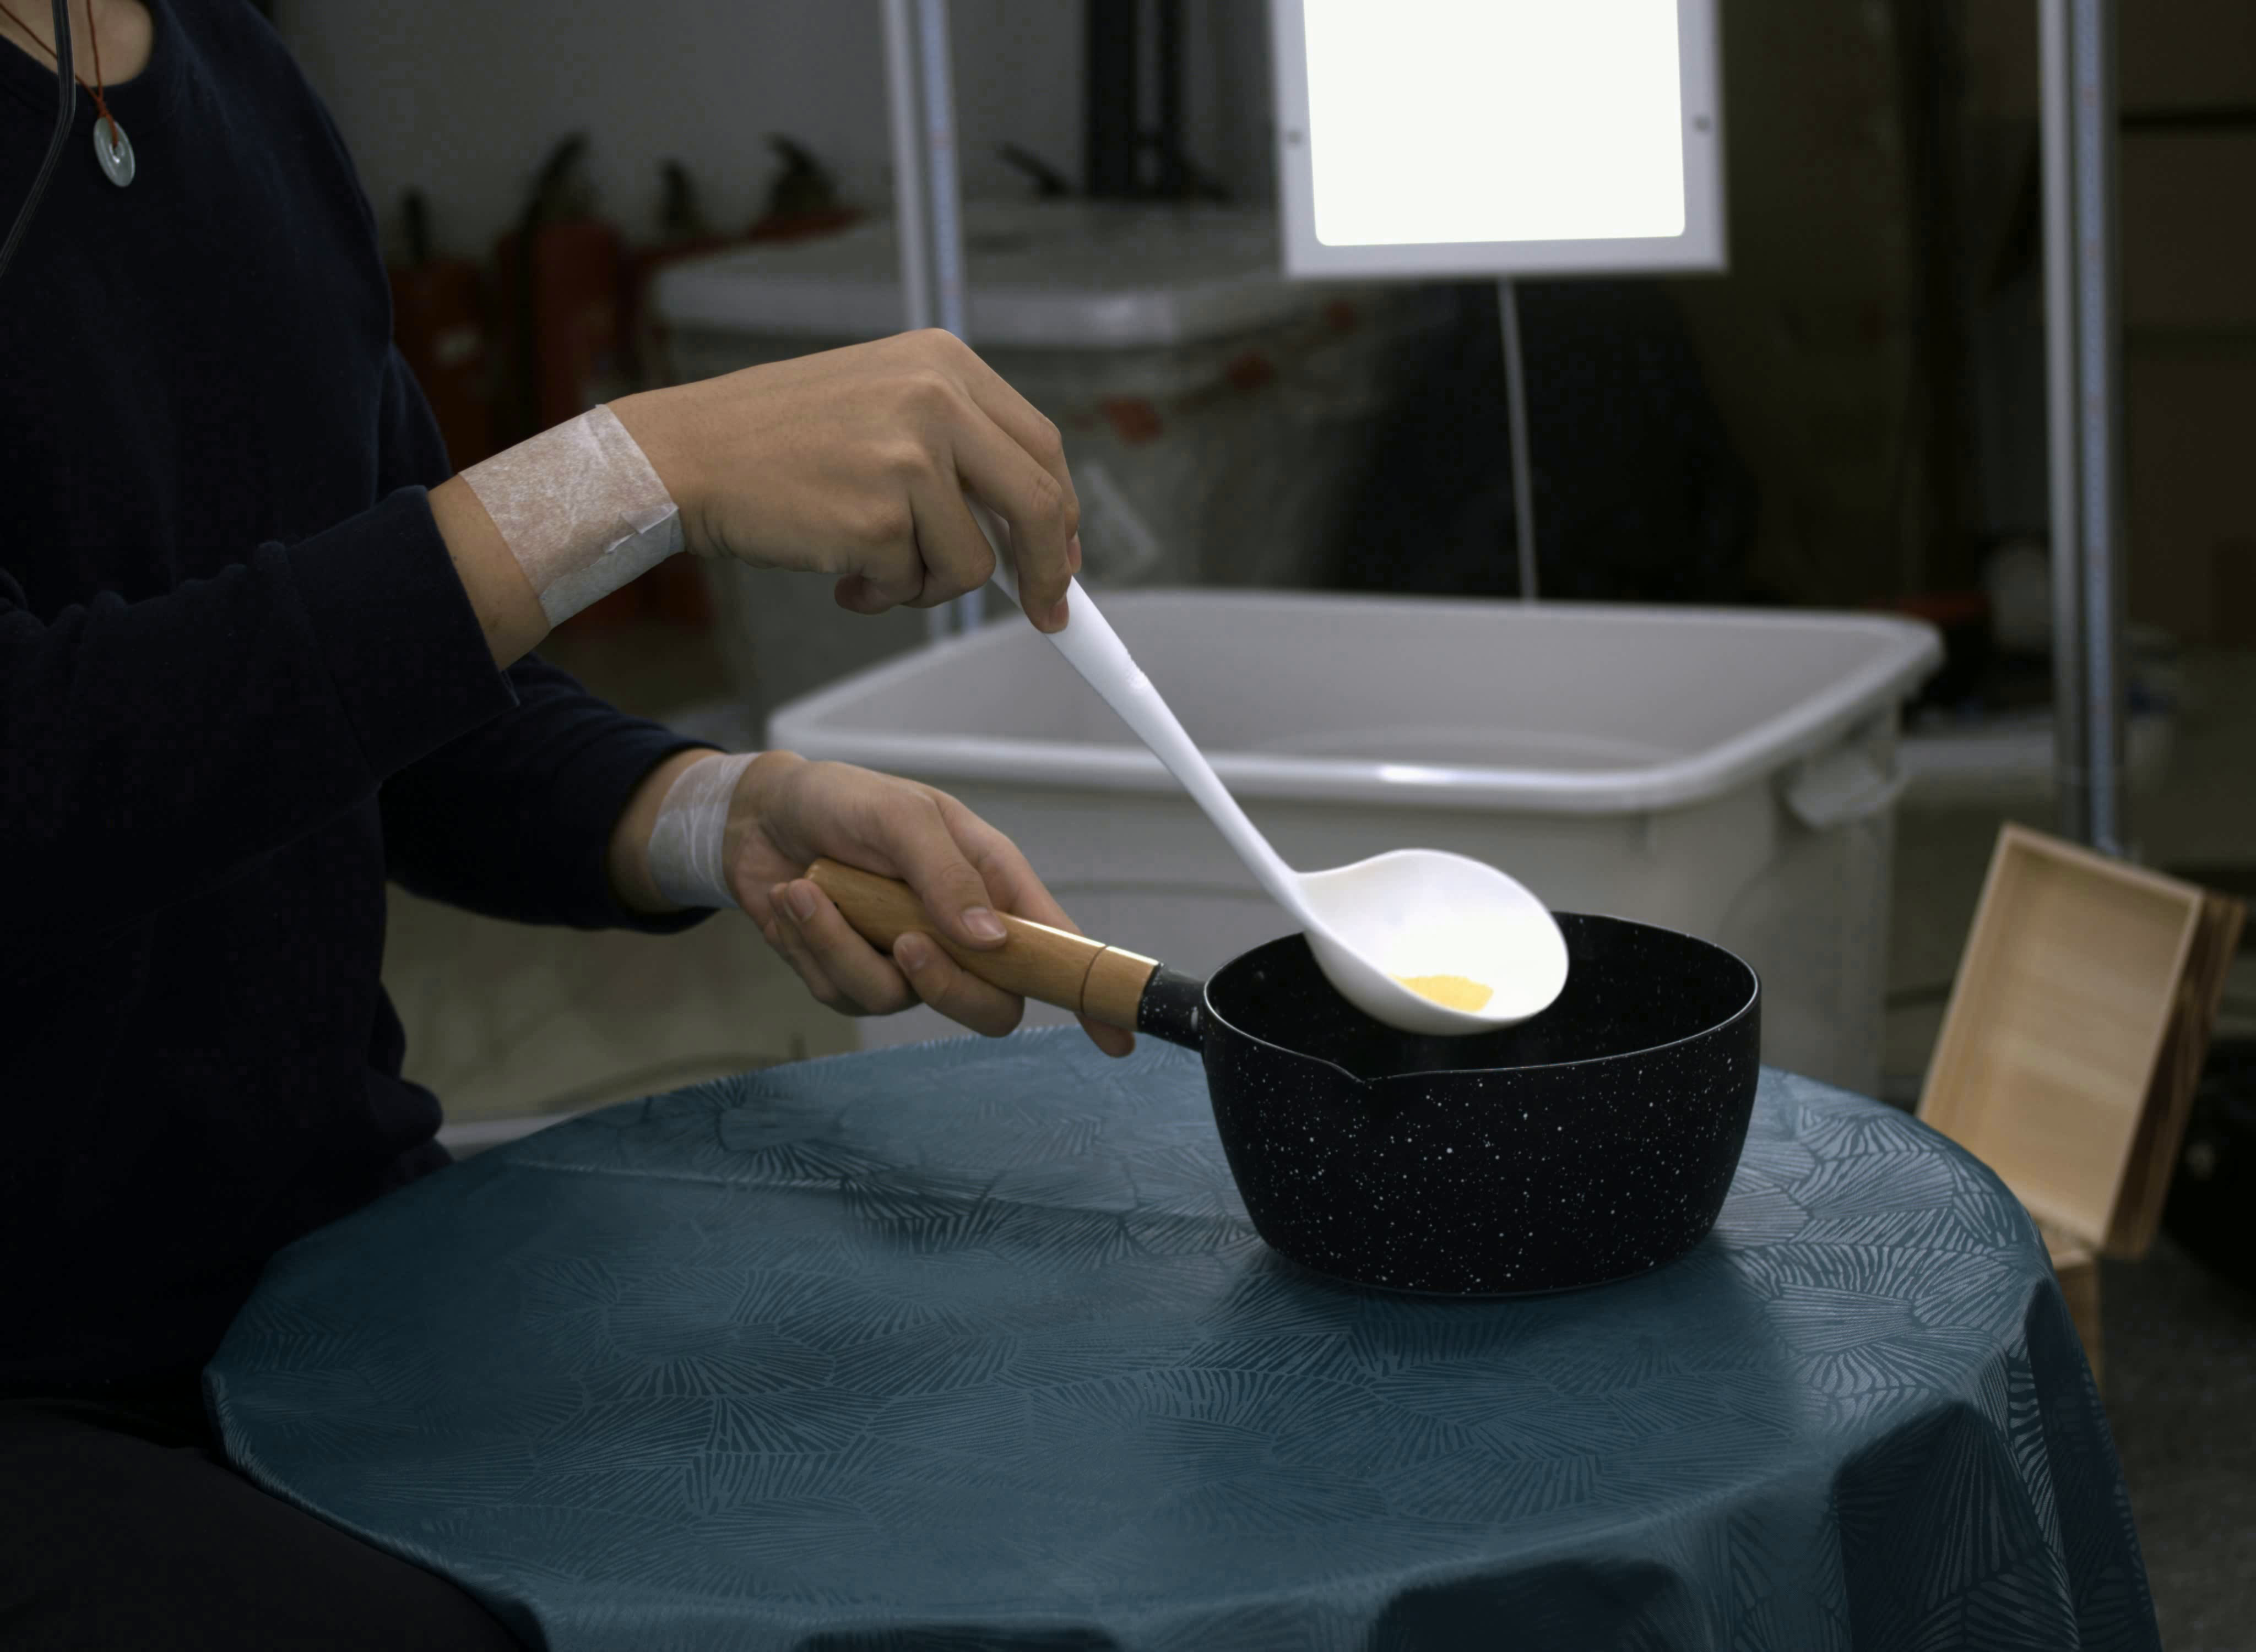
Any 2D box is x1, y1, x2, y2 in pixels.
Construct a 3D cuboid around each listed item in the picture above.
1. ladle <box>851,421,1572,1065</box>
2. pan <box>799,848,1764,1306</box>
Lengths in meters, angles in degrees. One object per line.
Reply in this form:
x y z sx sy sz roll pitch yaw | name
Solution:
0.030 -0.027 1.756 0.071 0.290 0.089 -27 30 30 | ladle
0.044 0.075 1.839 0.348 0.109 0.203 5 17 24 | pan
